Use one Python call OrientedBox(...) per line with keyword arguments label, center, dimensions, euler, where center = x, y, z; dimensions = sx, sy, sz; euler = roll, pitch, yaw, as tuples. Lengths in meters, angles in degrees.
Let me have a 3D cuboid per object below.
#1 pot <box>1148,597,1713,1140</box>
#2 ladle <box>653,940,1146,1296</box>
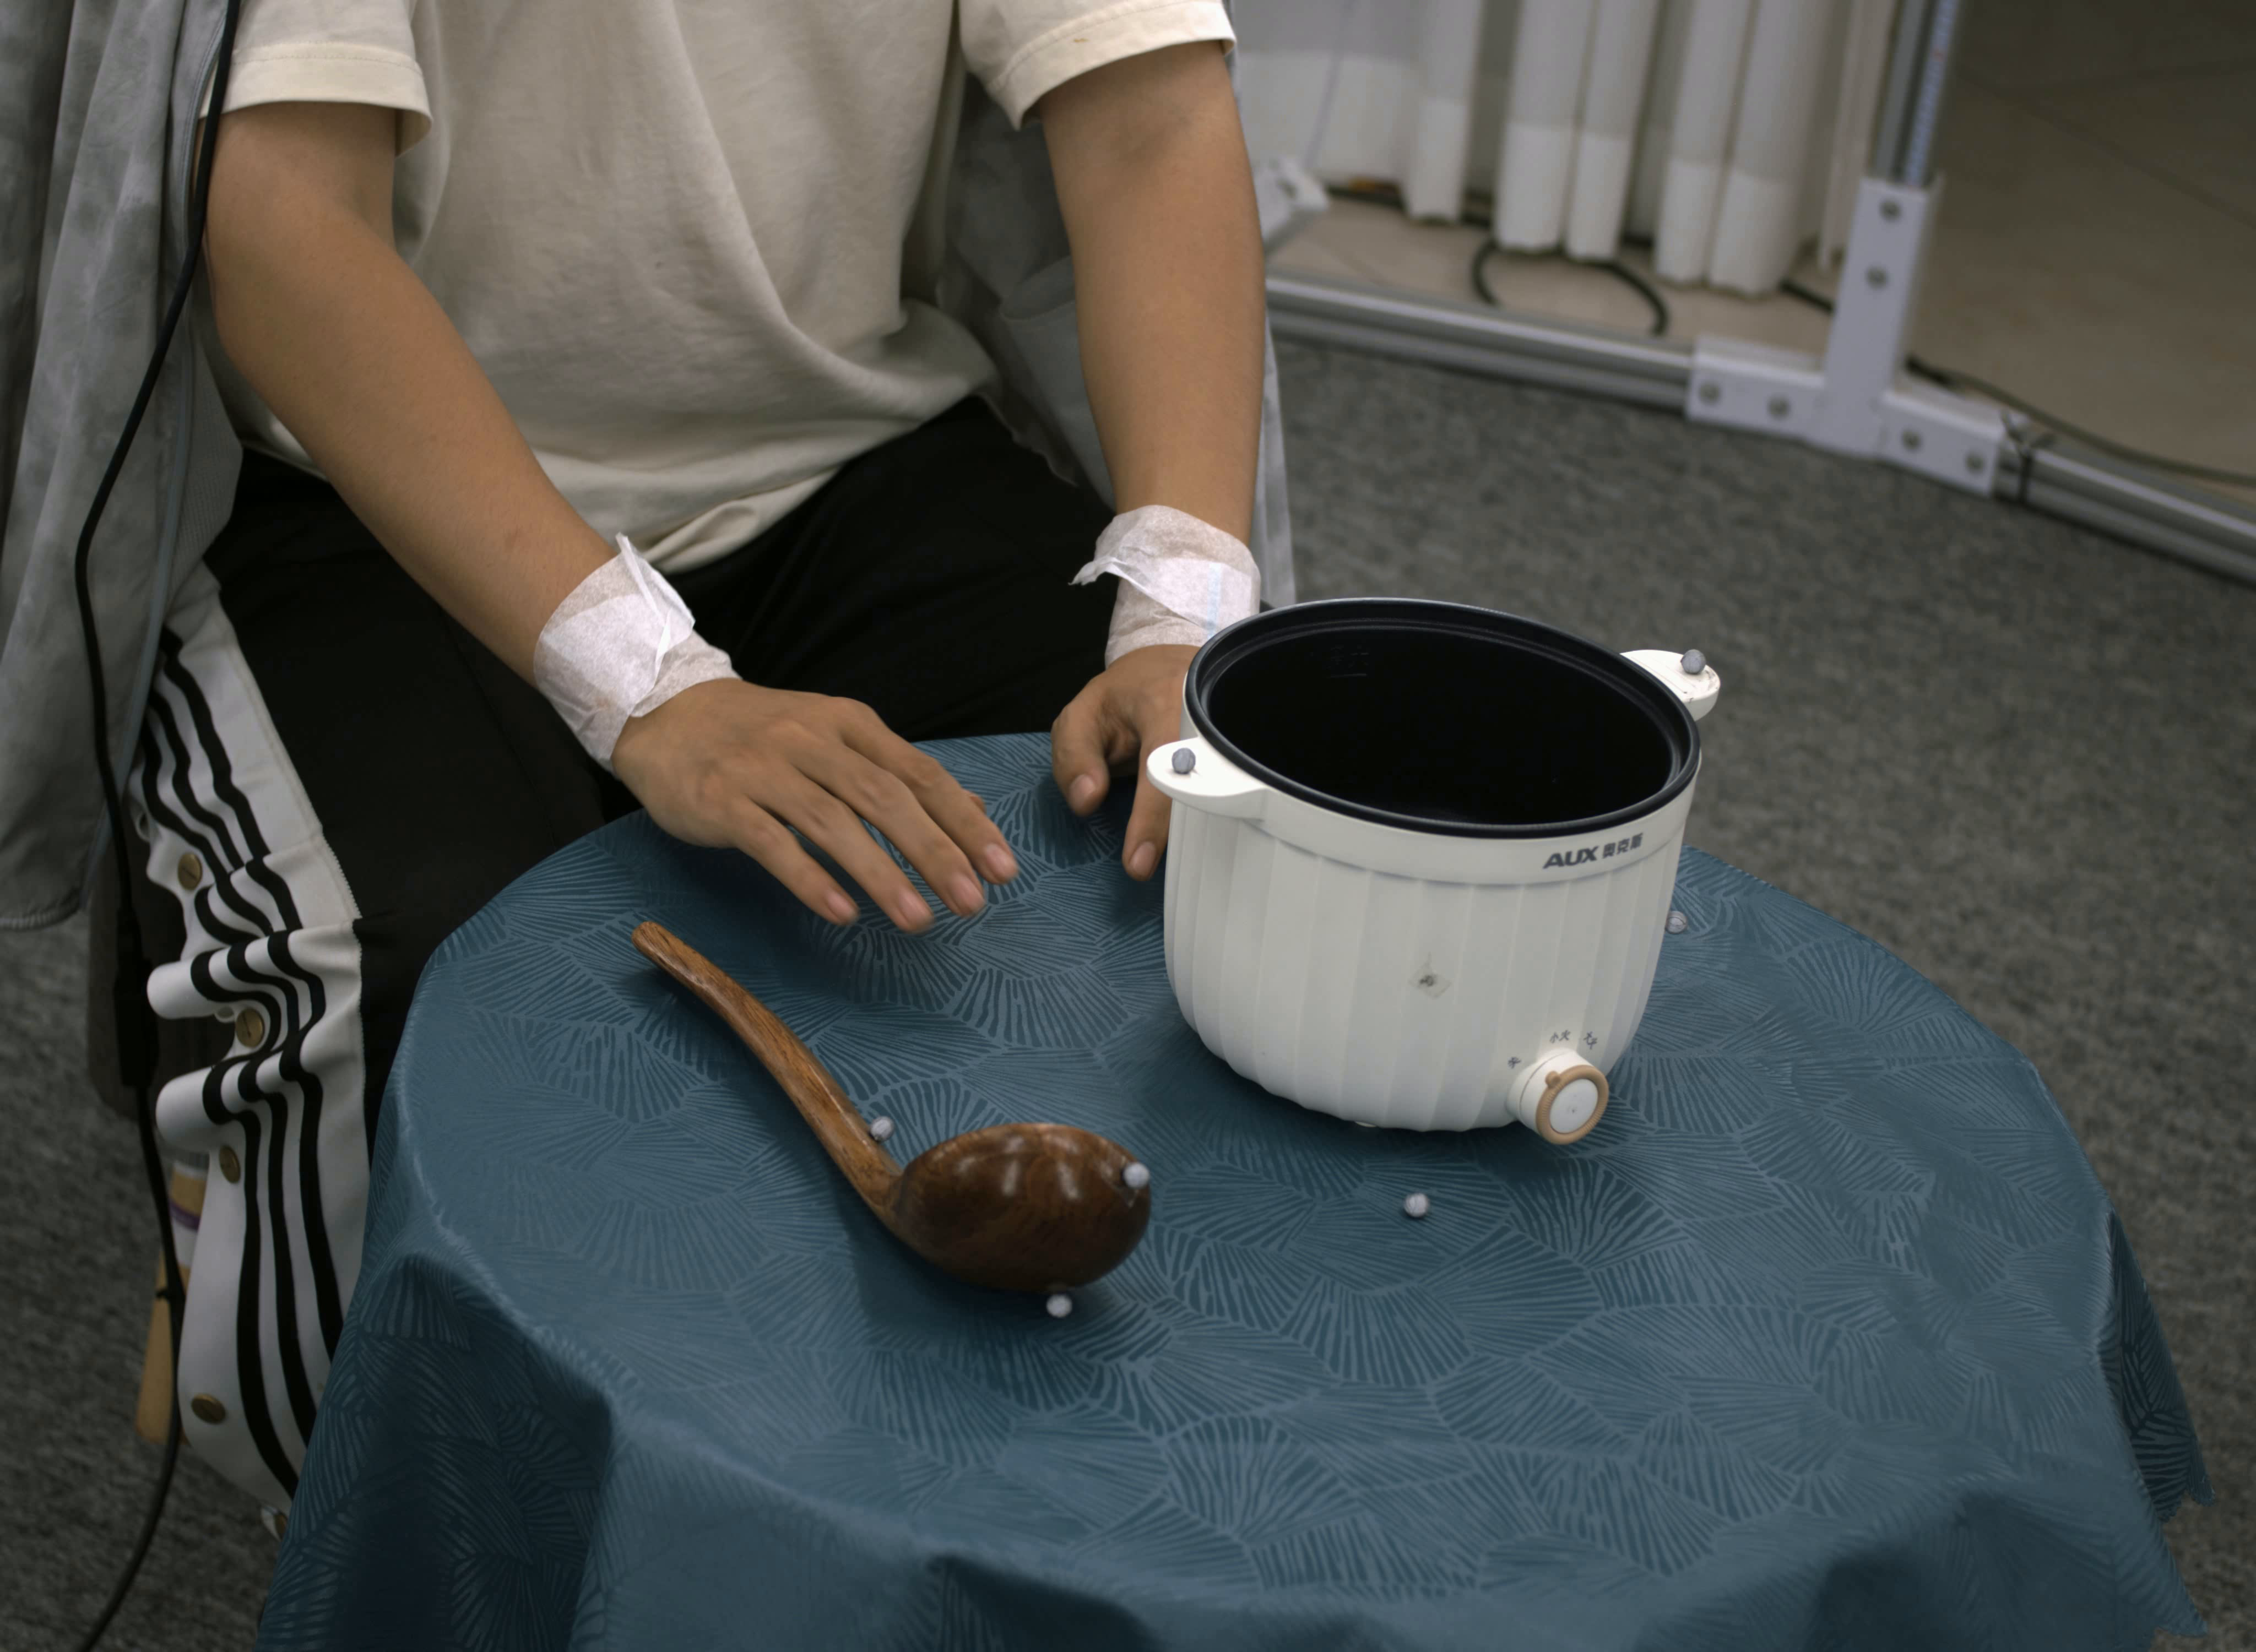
OrientedBox(label="pot", center=(0.107, 0.020, 1.880), dimensions=(0.239, 0.142, 0.192), euler=(-13, 29, -32))
OrientedBox(label="ladle", center=(-0.083, 0.079, 1.802), dimensions=(0.076, 0.081, 0.276), euler=(-45, 37, -1))
